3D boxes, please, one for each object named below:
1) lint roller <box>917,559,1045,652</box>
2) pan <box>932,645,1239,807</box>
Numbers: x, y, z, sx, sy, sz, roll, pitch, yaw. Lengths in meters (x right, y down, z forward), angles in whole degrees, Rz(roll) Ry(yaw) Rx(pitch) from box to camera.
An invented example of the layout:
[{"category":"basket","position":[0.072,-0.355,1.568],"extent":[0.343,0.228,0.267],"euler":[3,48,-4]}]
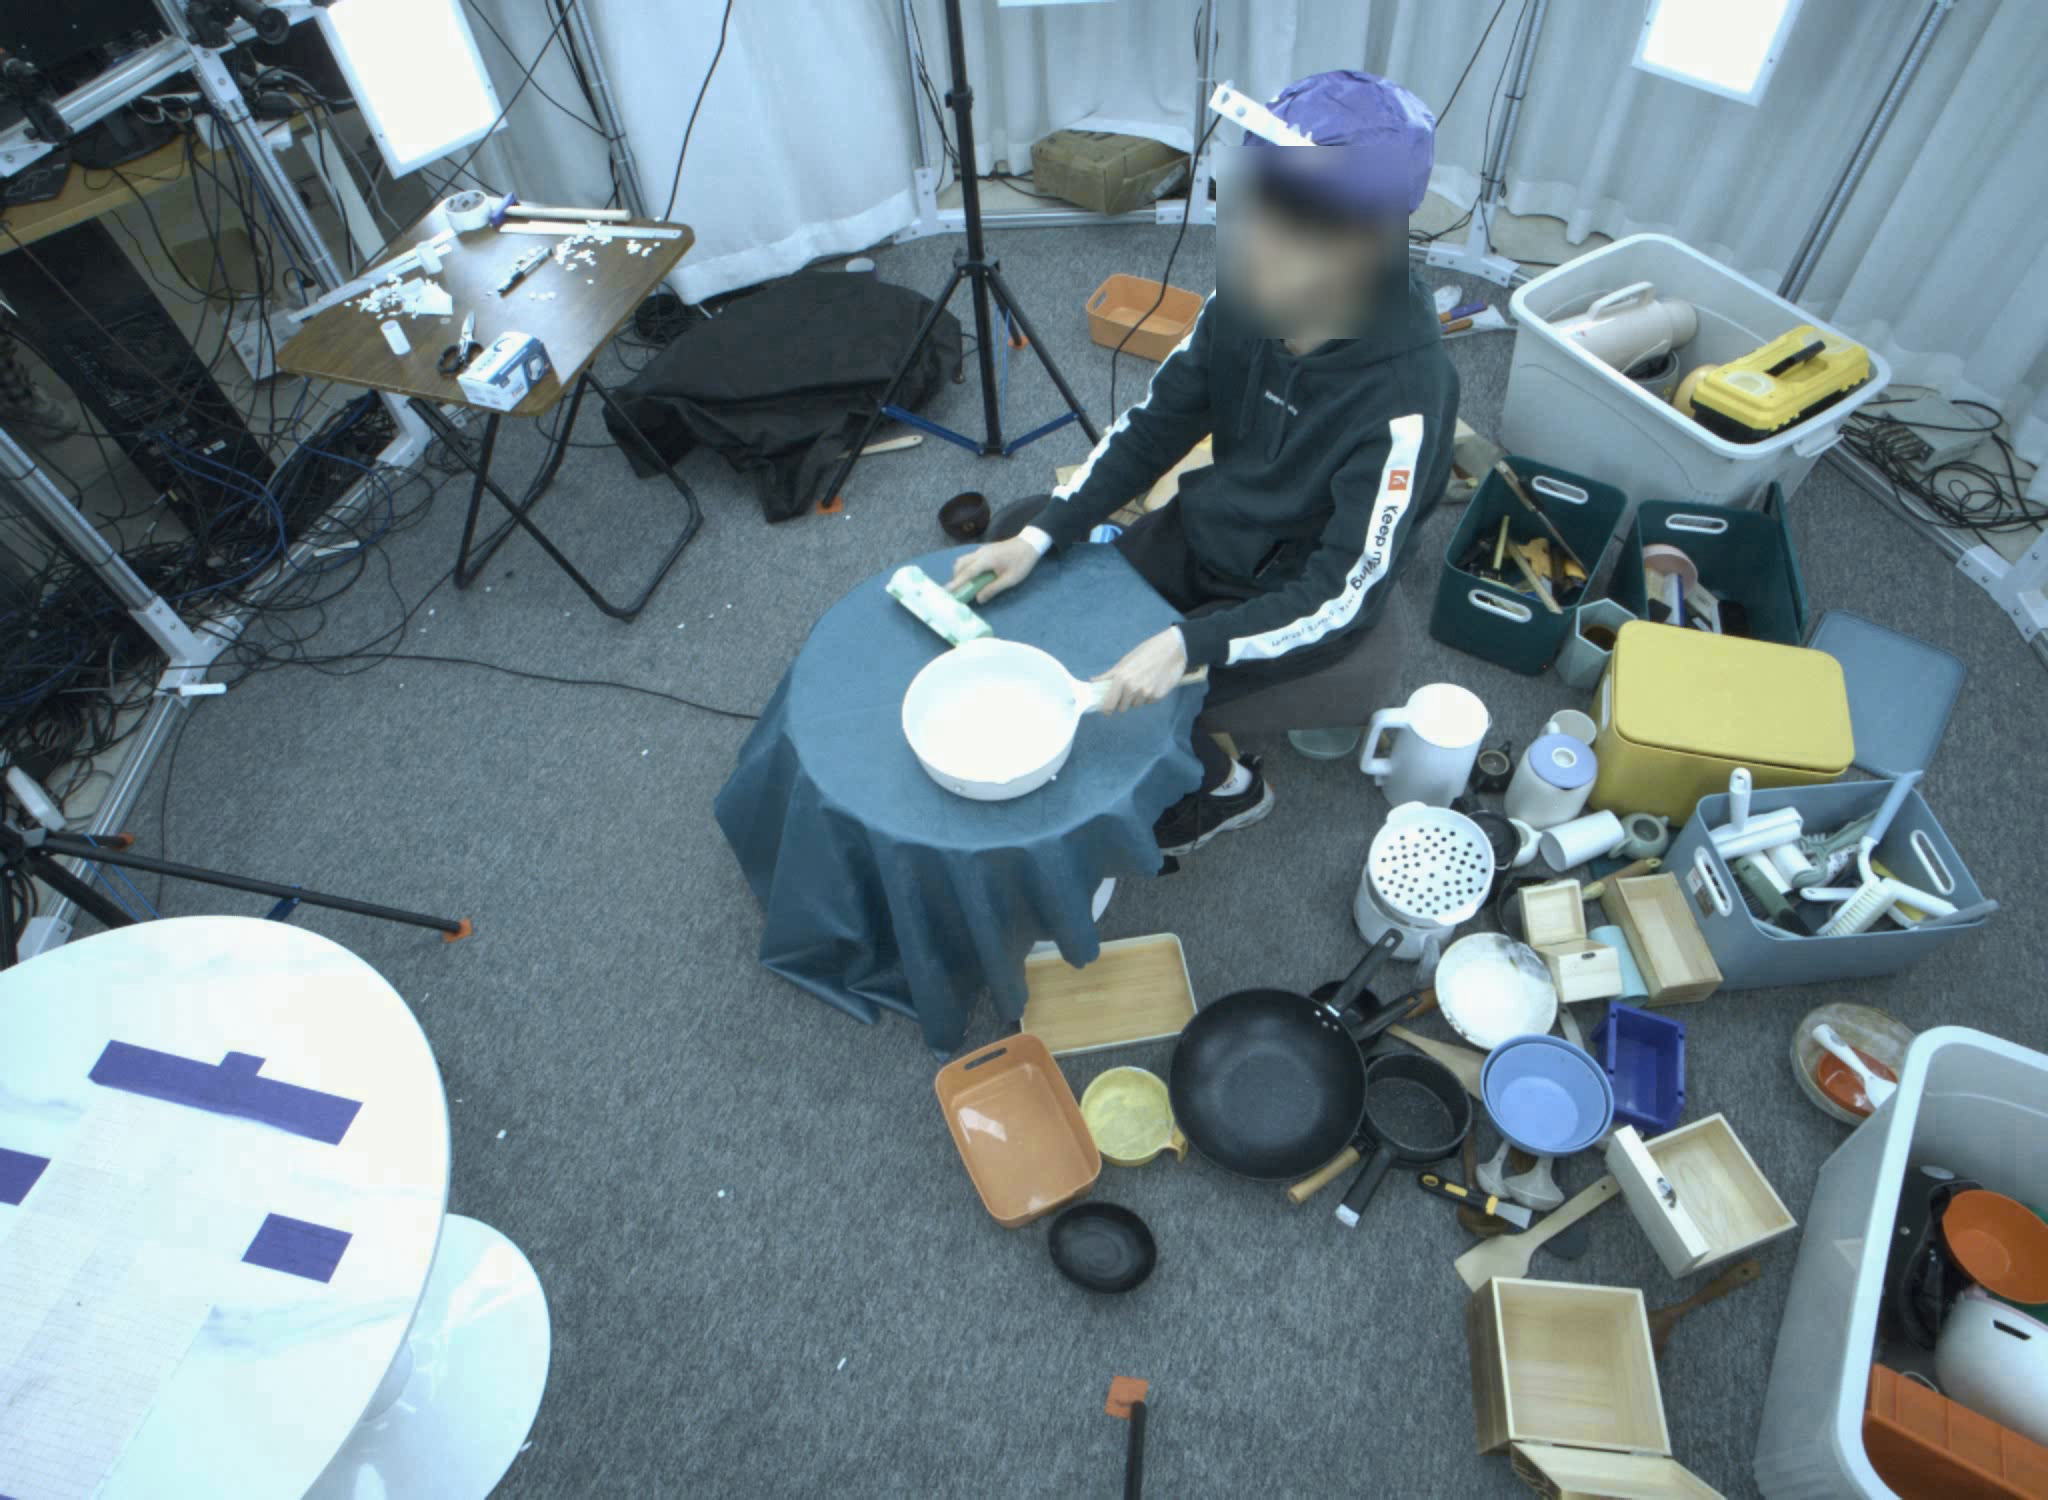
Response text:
[{"category":"lint roller","position":[-0.043,-0.259,1.914],"extent":[0.184,0.083,0.195],"euler":[-41,61,-14]},{"category":"pan","position":[0.089,-0.043,1.750],"extent":[0.436,0.103,0.259],"euler":[-7,53,-4]}]
